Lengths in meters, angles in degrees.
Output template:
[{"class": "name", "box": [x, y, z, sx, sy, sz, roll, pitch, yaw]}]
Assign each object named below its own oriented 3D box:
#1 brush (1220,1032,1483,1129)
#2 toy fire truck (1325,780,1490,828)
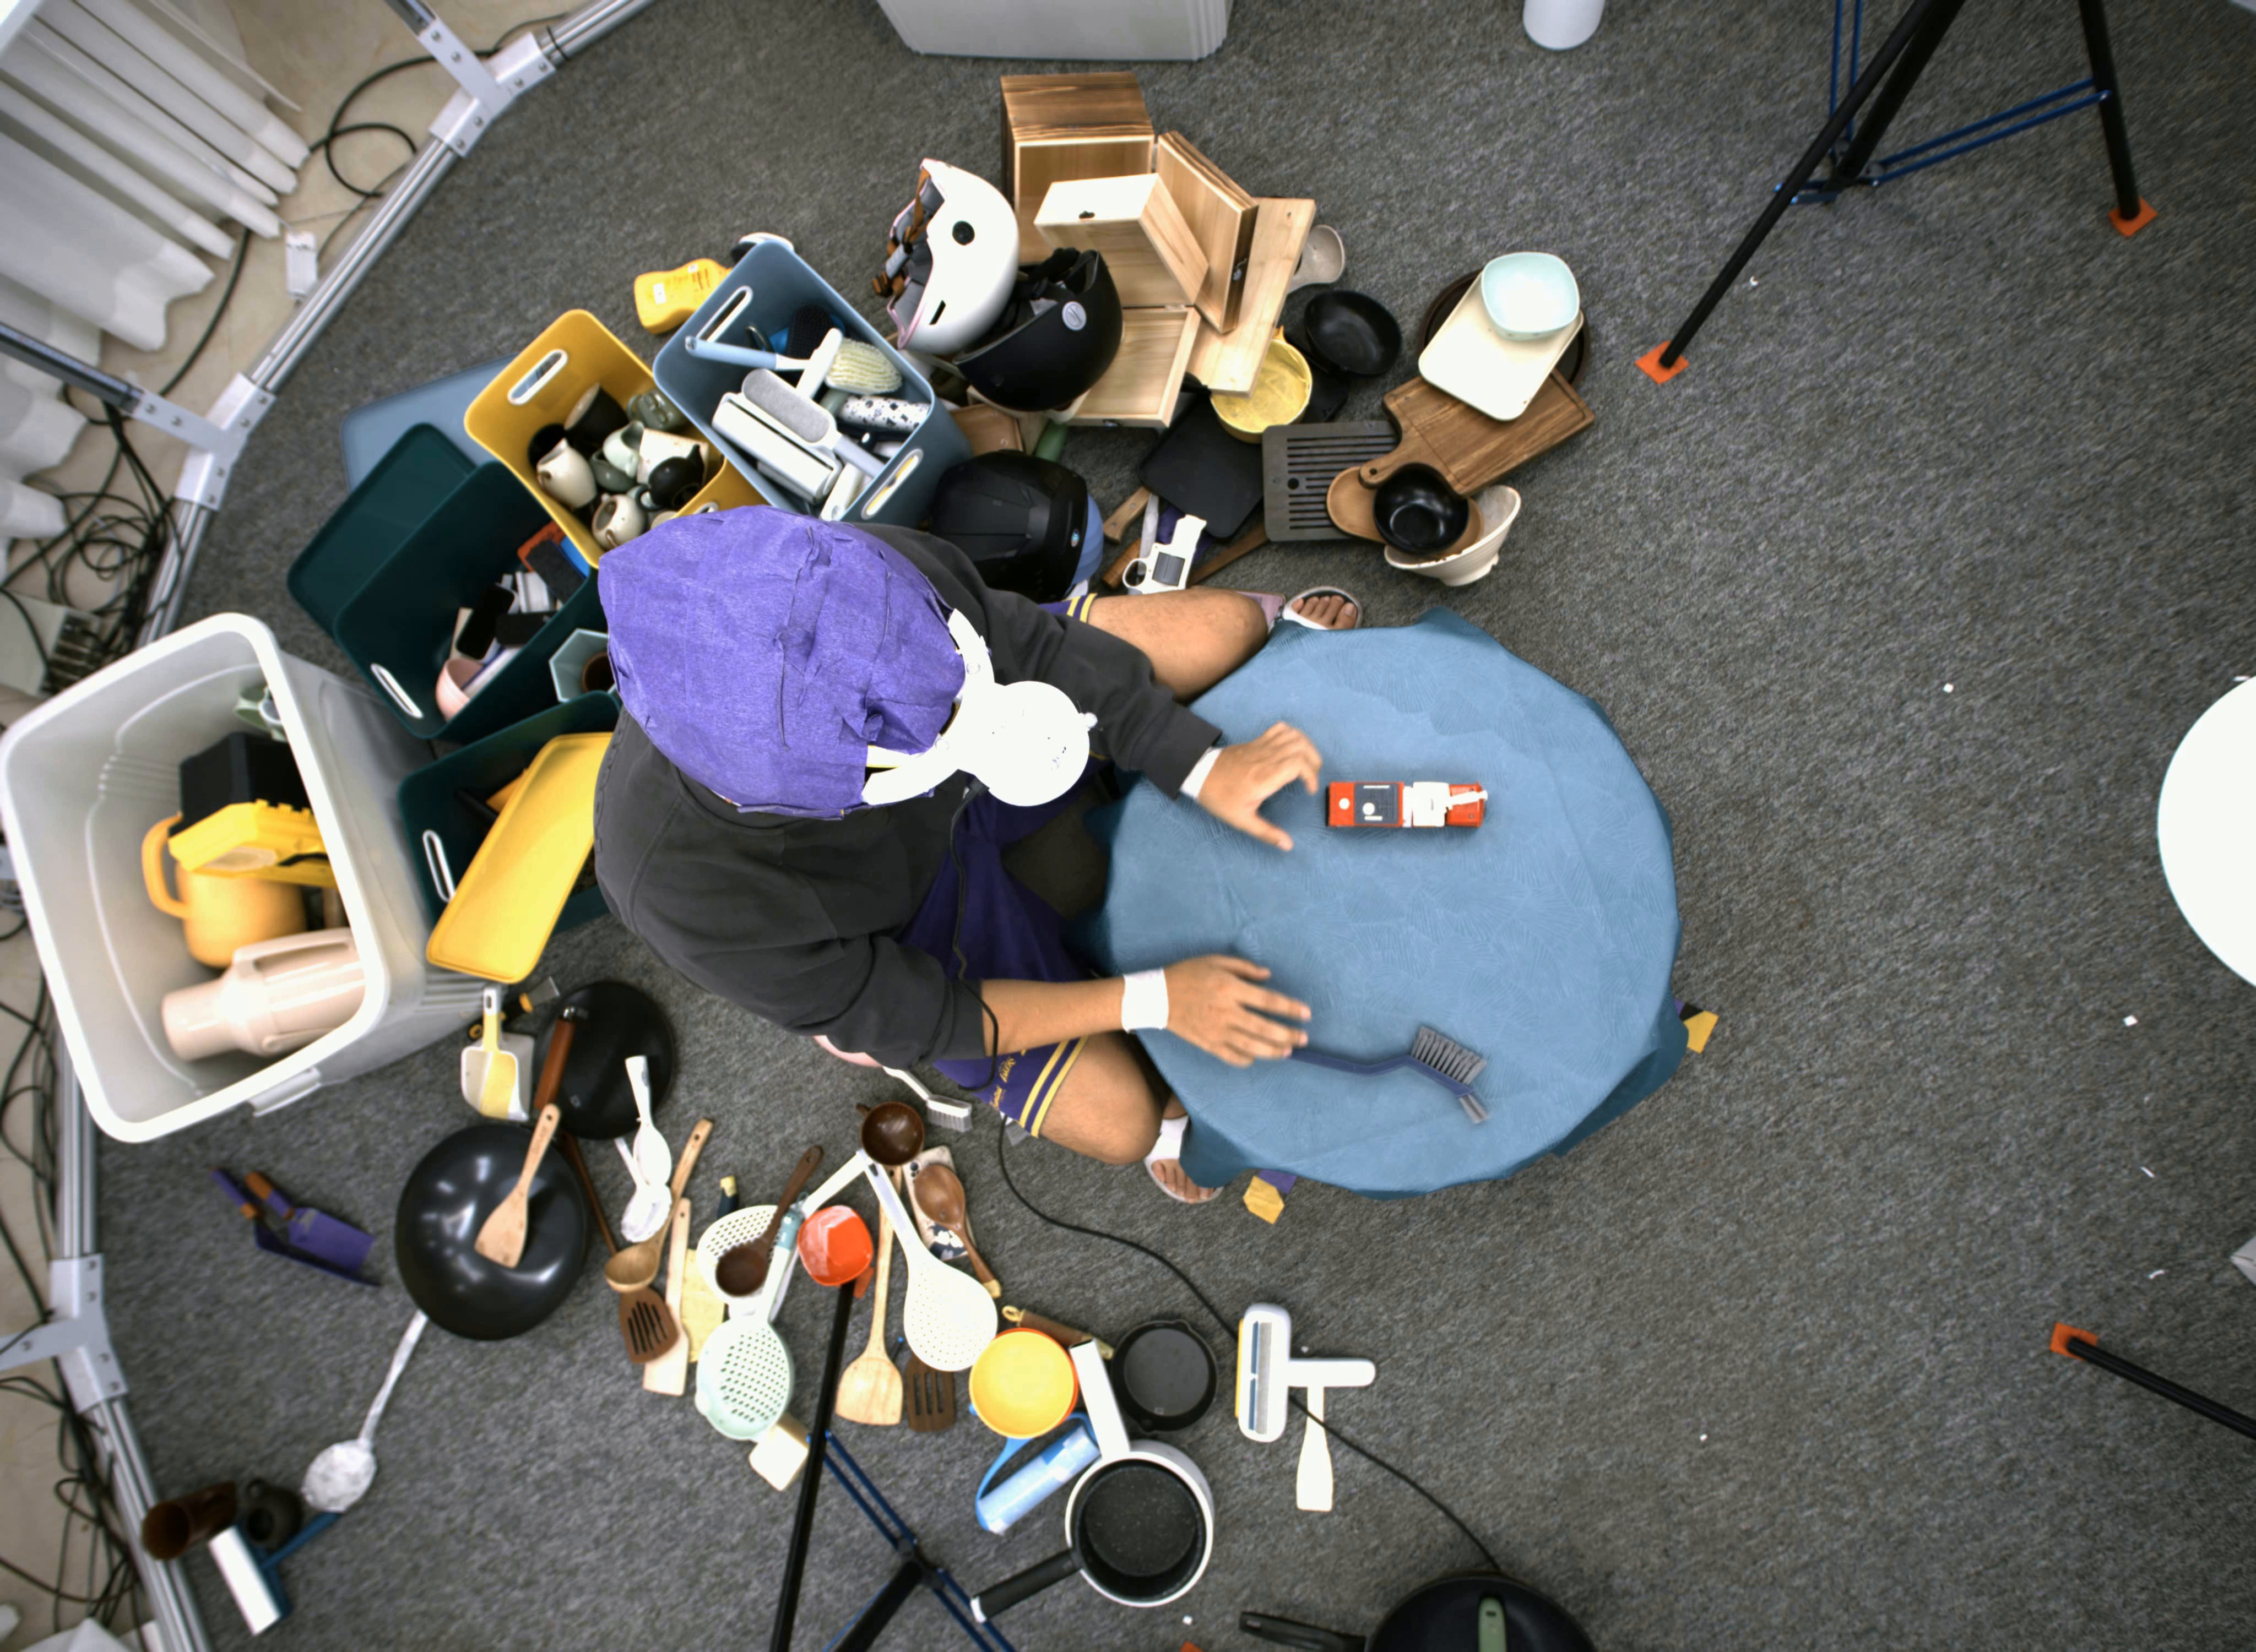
[{"class": "brush", "box": [0.231, 0.257, 1.440, 0.274, 0.033, 0.095, 2, 86, 9]}, {"class": "toy fire truck", "box": [0.288, -0.025, 1.431, 0.168, 0.070, 0.054, 1, 88, 11]}]
